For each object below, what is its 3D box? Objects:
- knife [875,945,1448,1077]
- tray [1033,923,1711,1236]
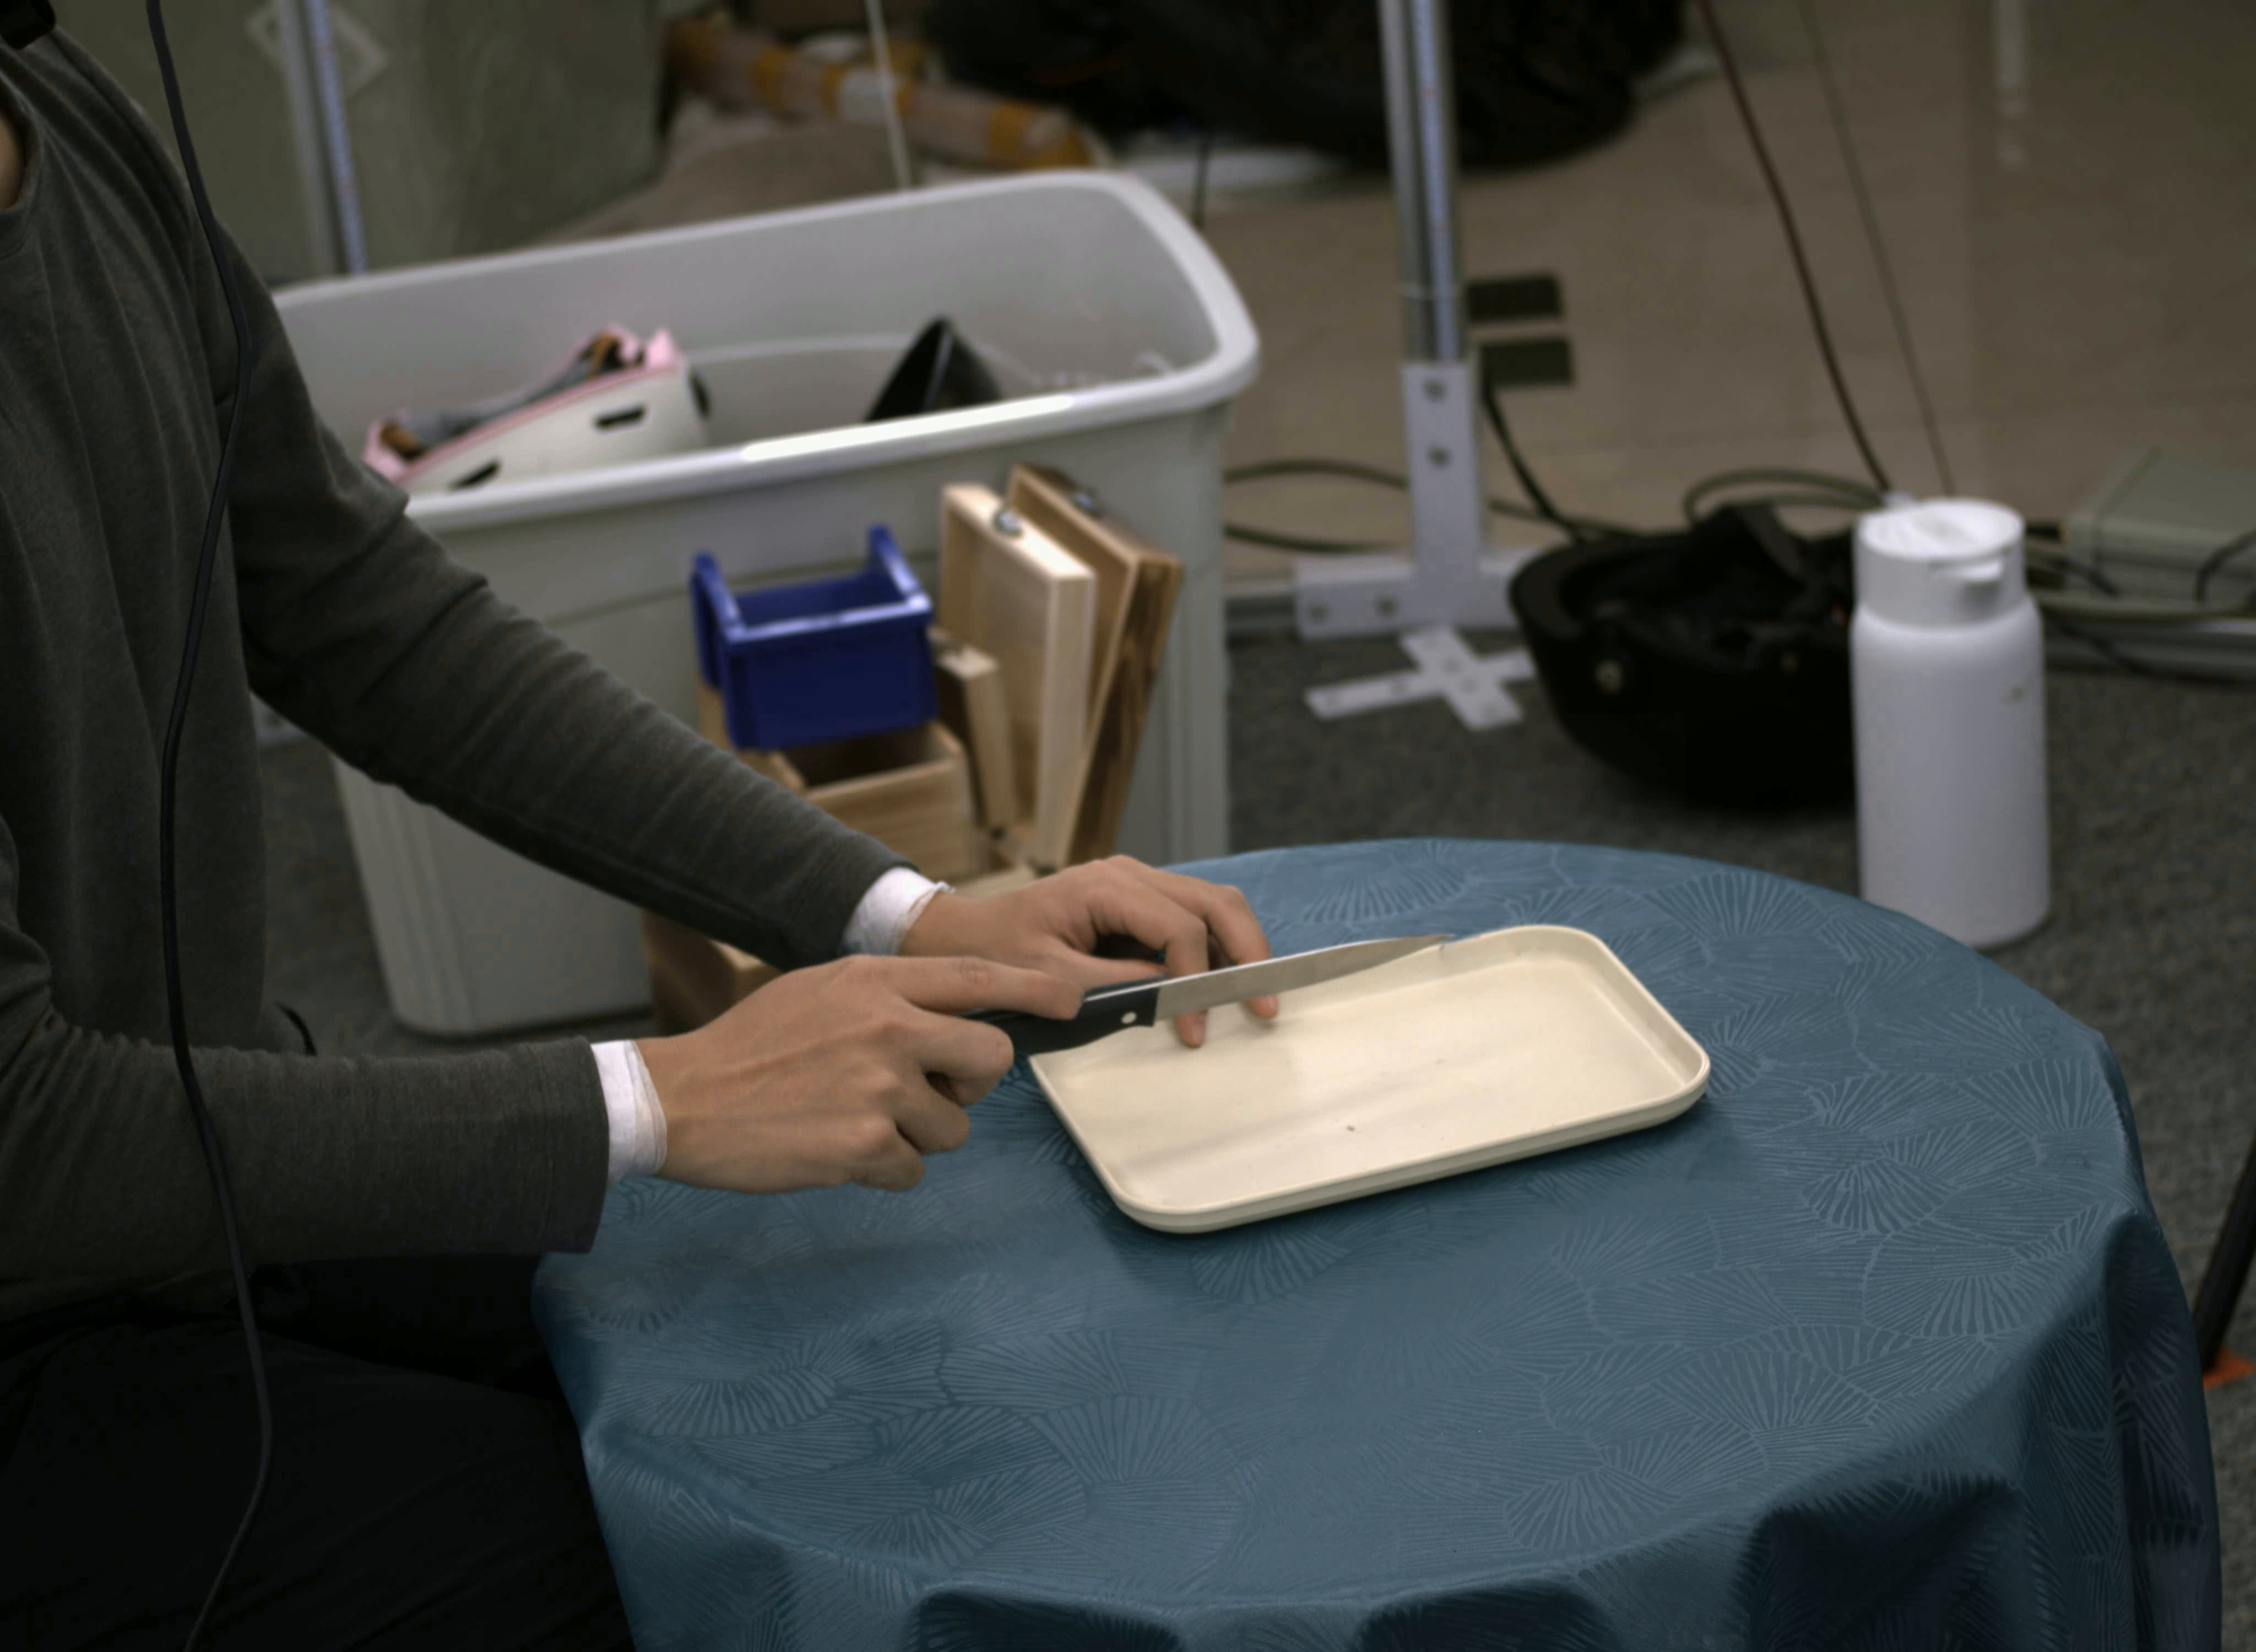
[{"bbox_3d":[0.016,0.065,2.155,0.237,0.025,0.016,-10,54,-21],"label":"knife"},{"bbox_3d":[0.093,0.098,2.196,0.239,0.018,0.169,-12,26,-12],"label":"tray"}]
